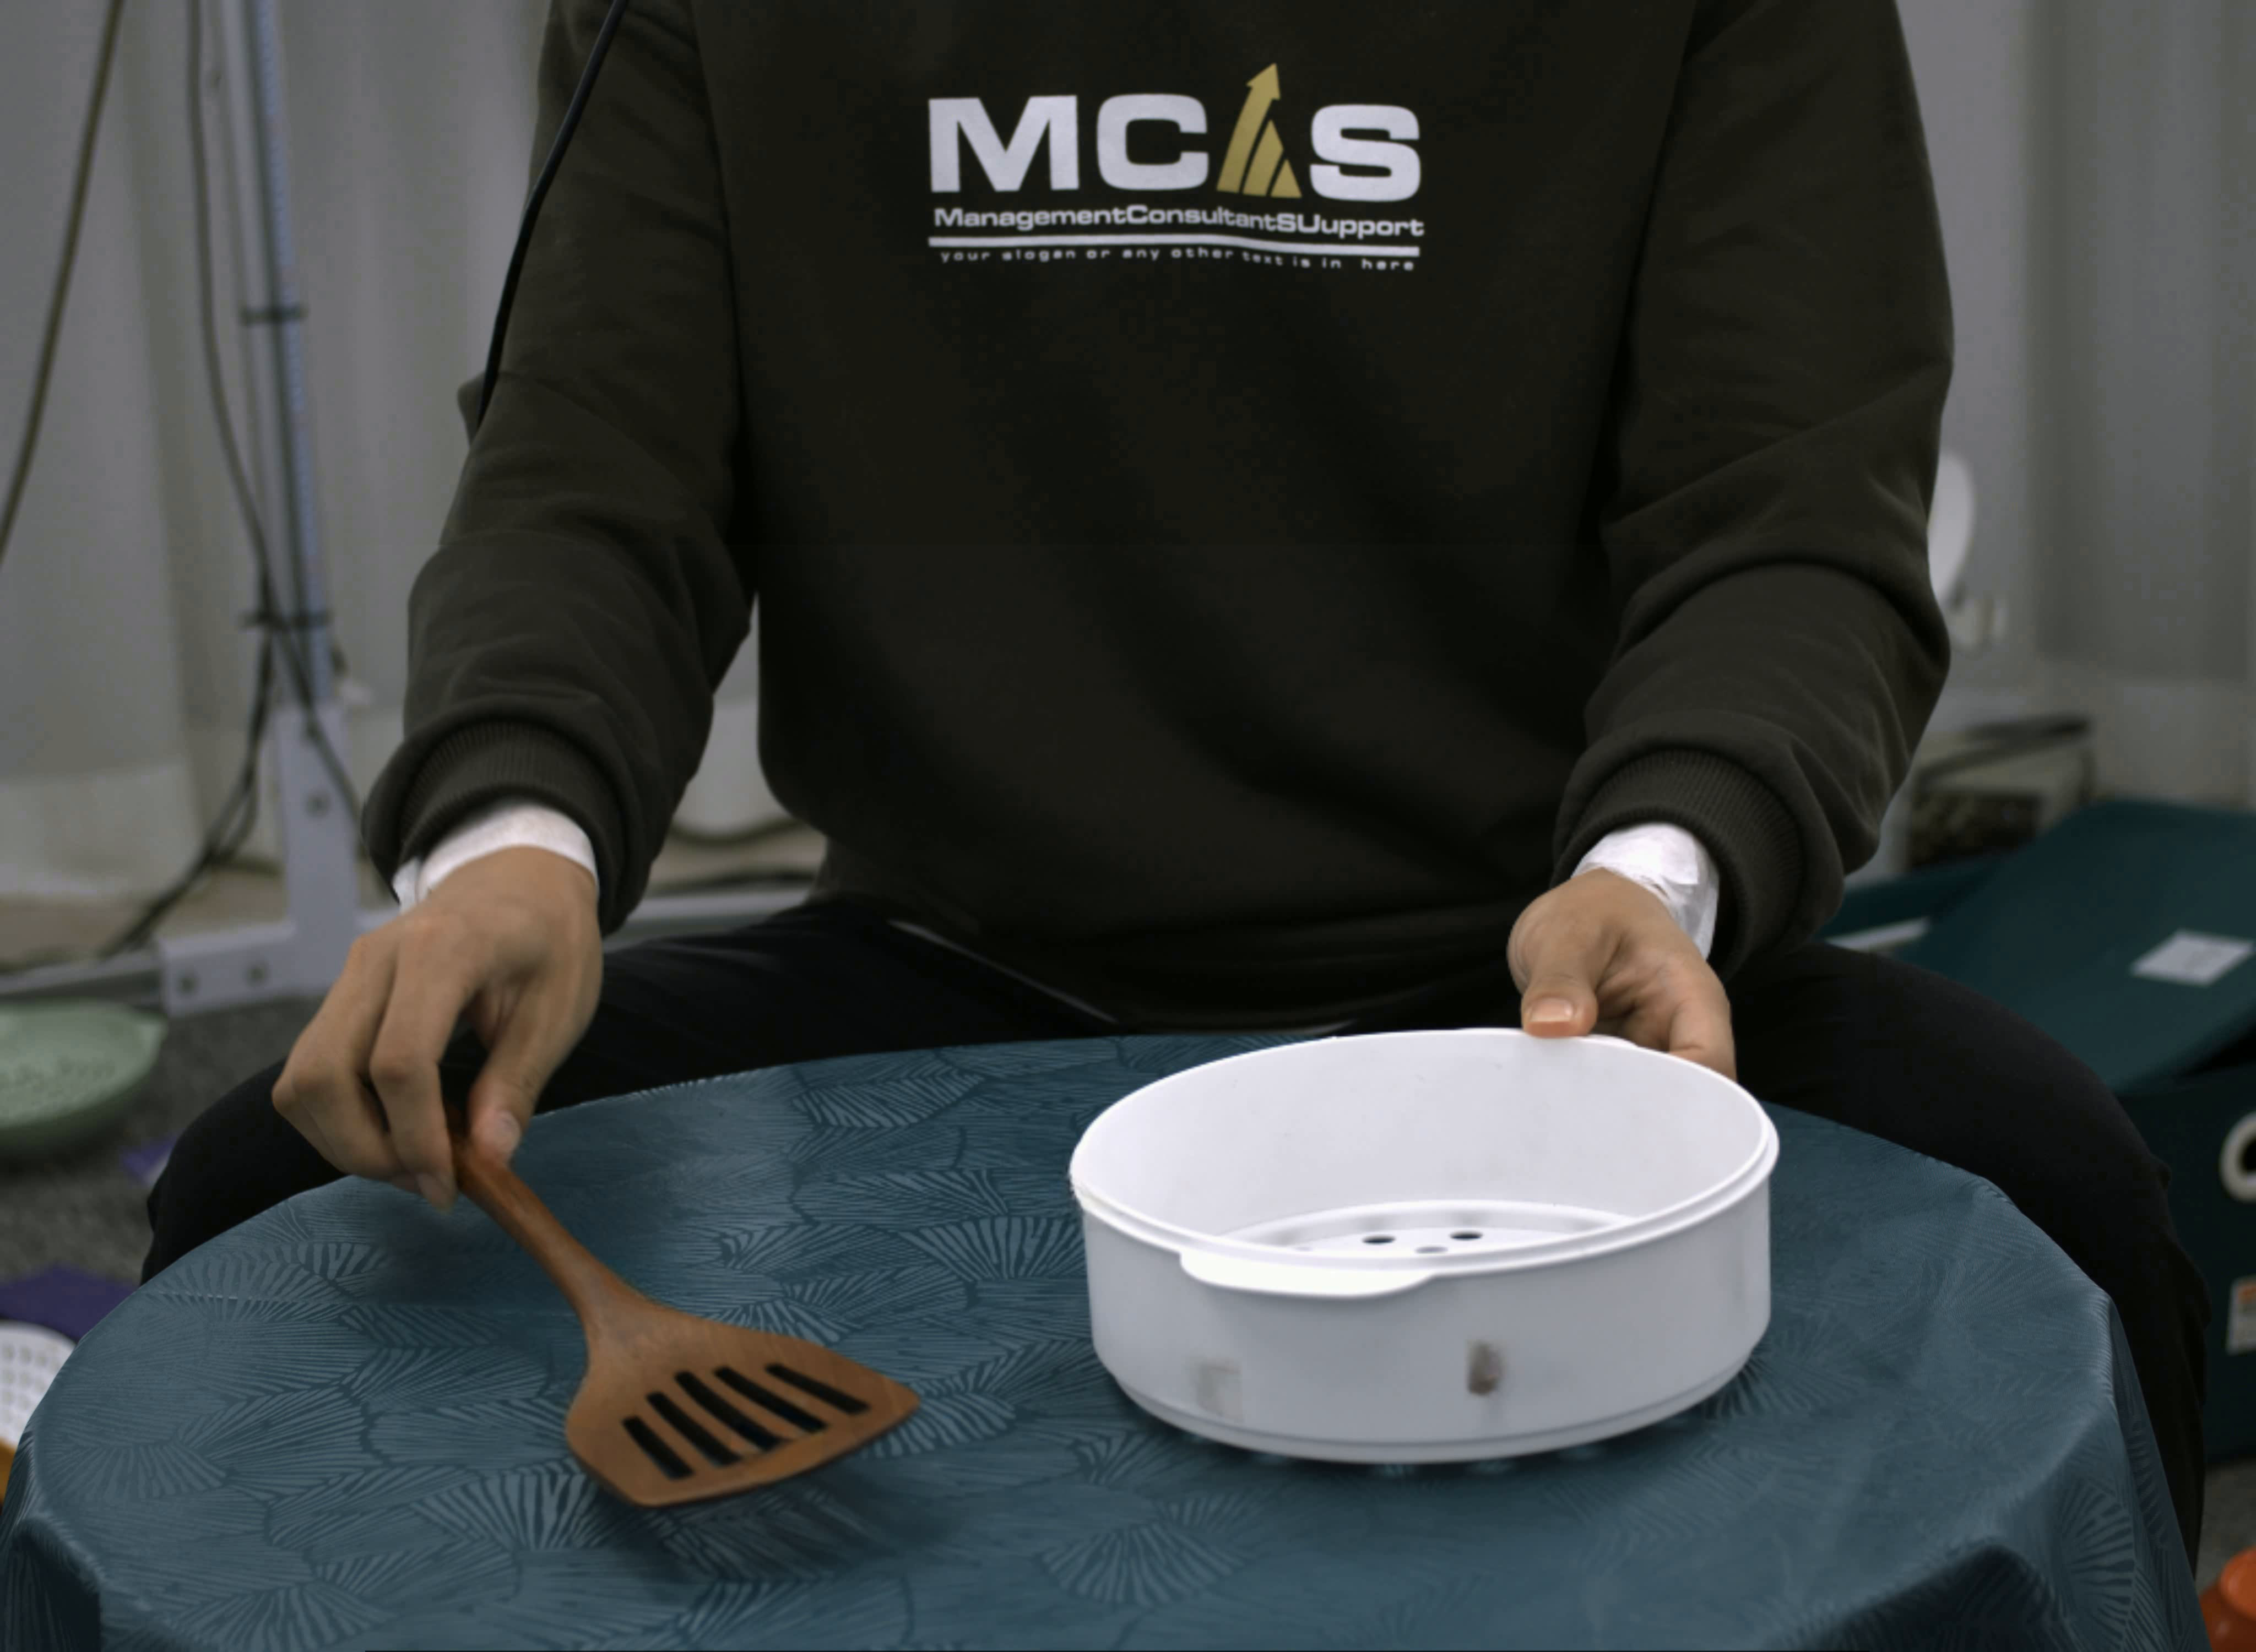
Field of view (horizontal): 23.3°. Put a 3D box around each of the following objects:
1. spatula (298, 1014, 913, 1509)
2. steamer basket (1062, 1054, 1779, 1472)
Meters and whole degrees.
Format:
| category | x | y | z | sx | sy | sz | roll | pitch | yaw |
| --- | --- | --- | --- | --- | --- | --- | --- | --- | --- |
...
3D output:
| category | x | y | z | sx | sy | sz | roll | pitch | yaw |
| --- | --- | --- | --- | --- | --- | --- | --- | --- | --- |
| spatula | -0.173 | 0.121 | 1.592 | 0.085 | 0.023 | 0.389 | -19 | 24 | -21 |
| steamer basket | 0.082 | 0.123 | 1.545 | 0.202 | 0.069 | 0.231 | 5 | 14 | 22 |
